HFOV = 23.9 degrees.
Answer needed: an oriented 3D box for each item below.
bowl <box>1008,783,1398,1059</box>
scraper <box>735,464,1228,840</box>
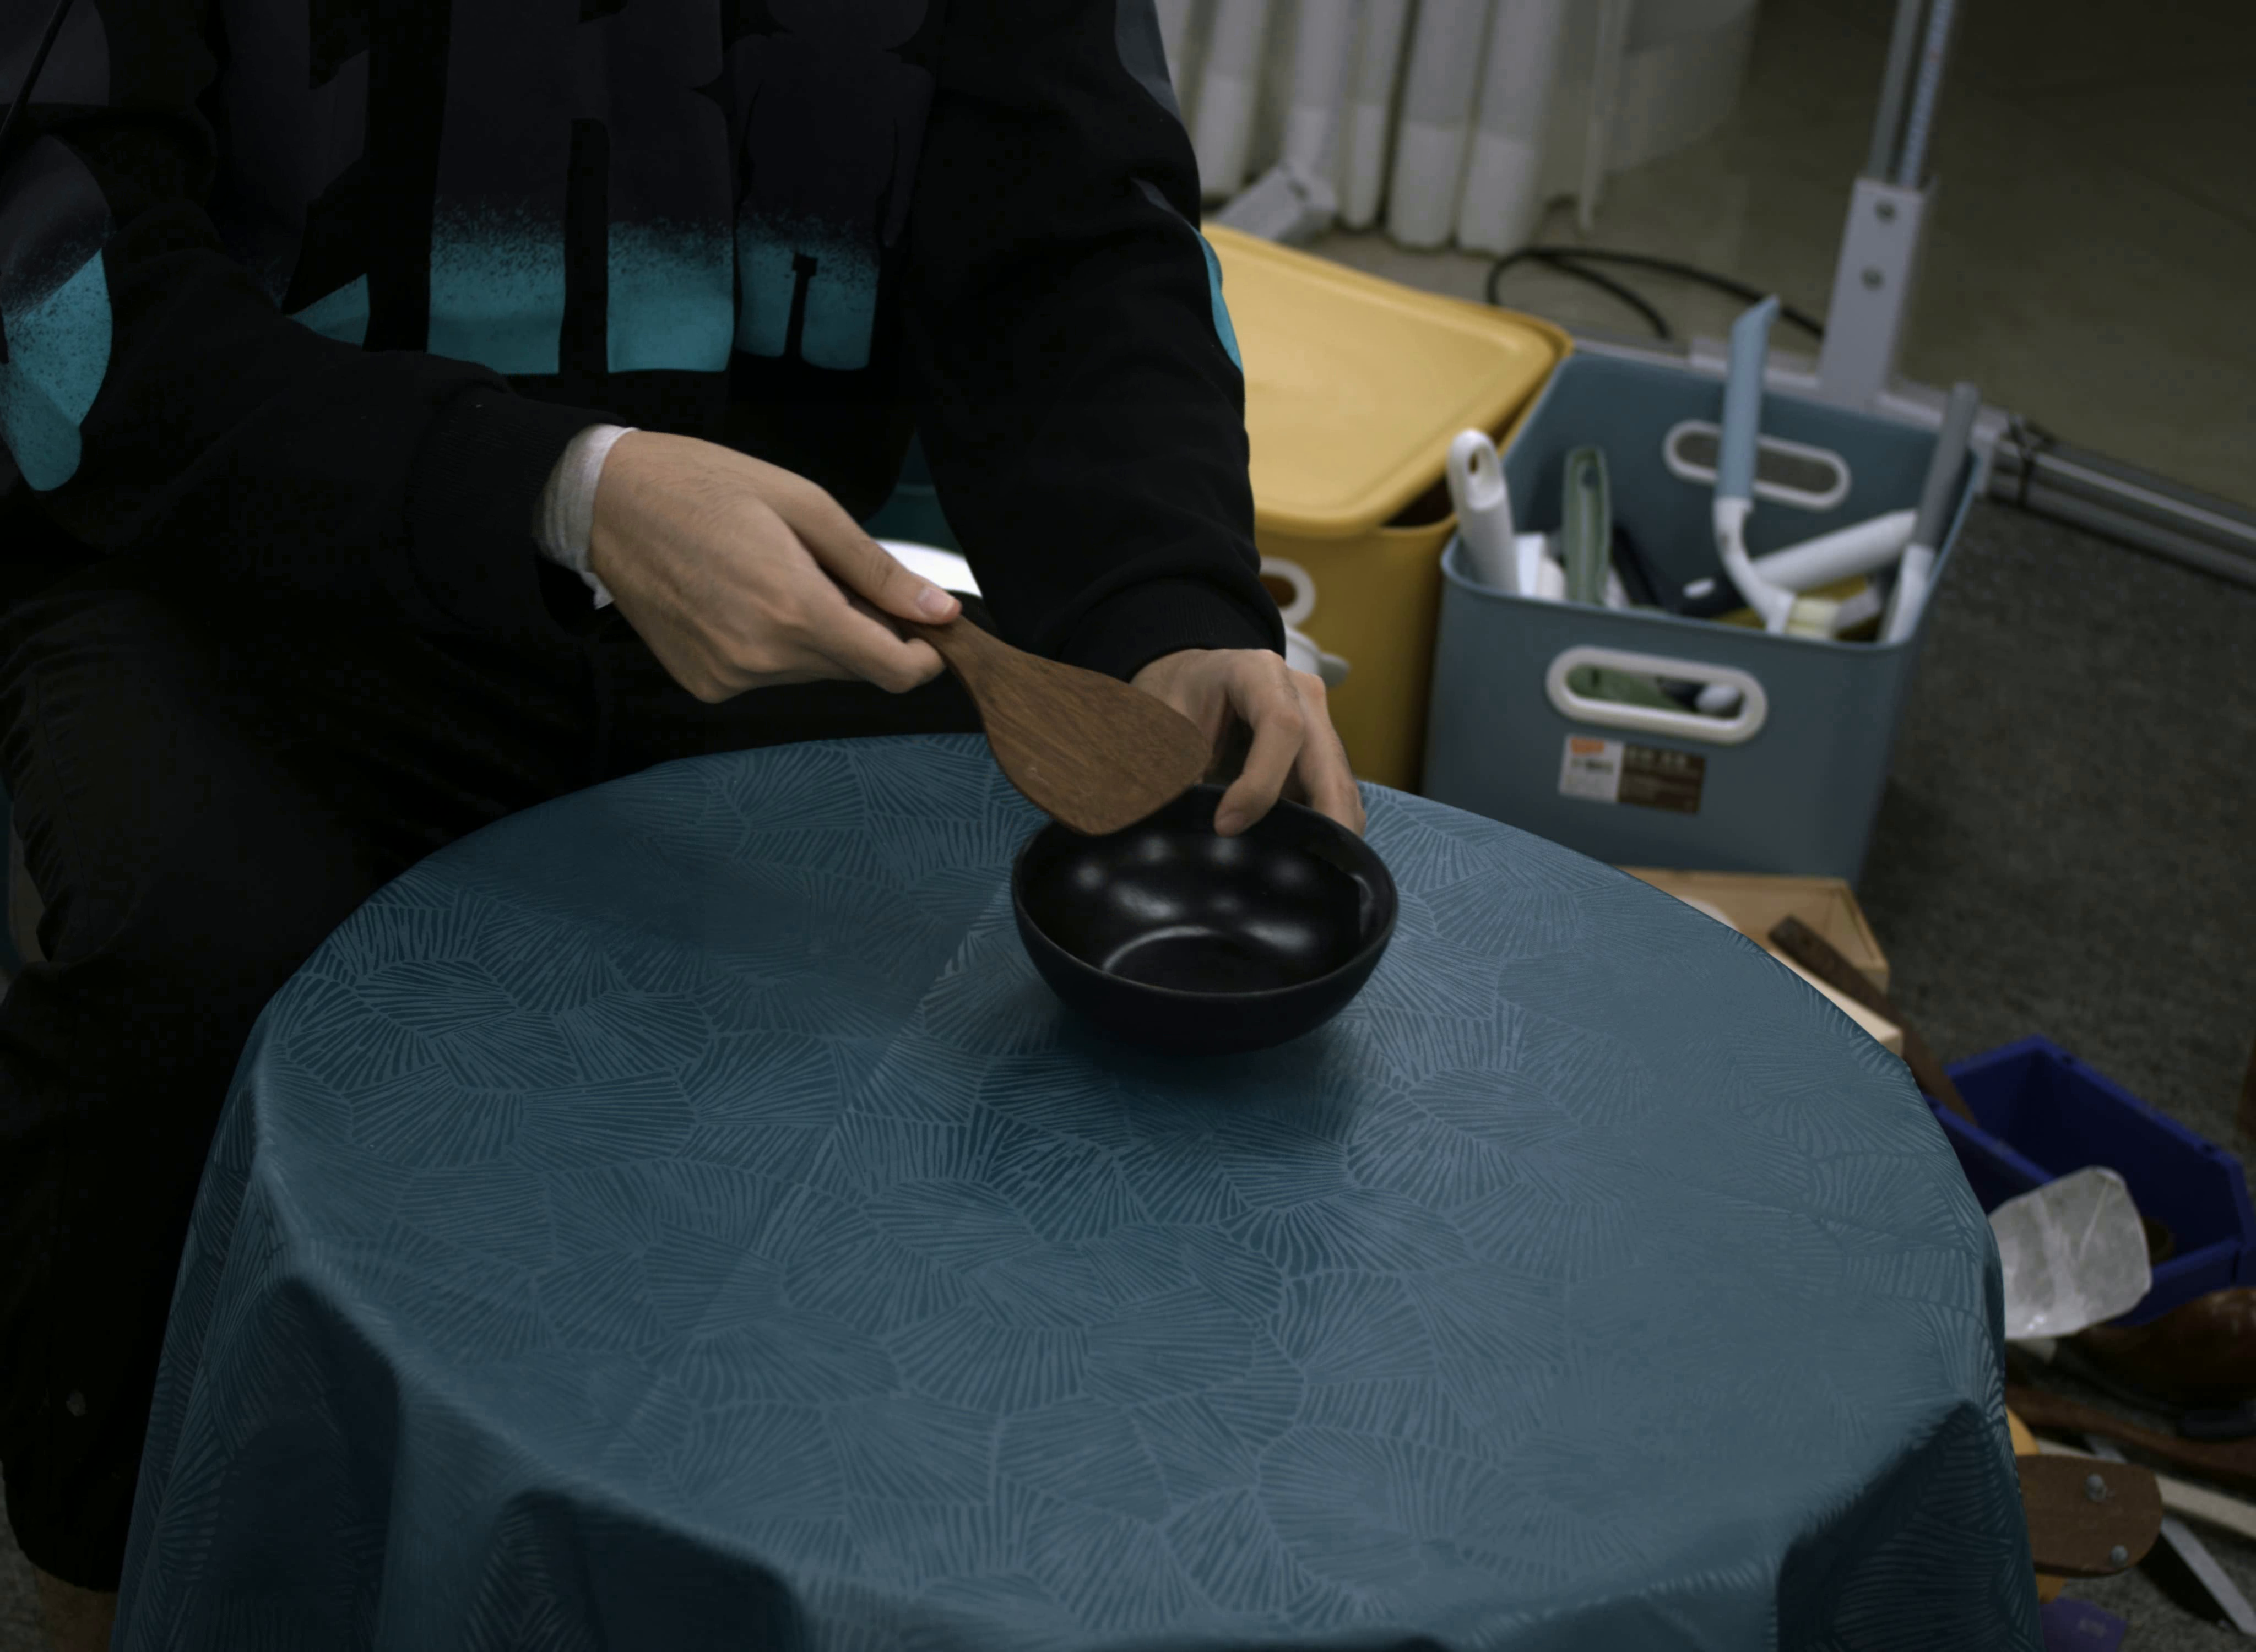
[{"bbox_3d":[0.026,0.042,1.897,0.139,0.049,0.141,0,33,-1],"label":"bowl"},{"bbox_3d":[-0.059,-0.066,1.892,0.212,0.011,0.075,38,50,22],"label":"scraper"}]
